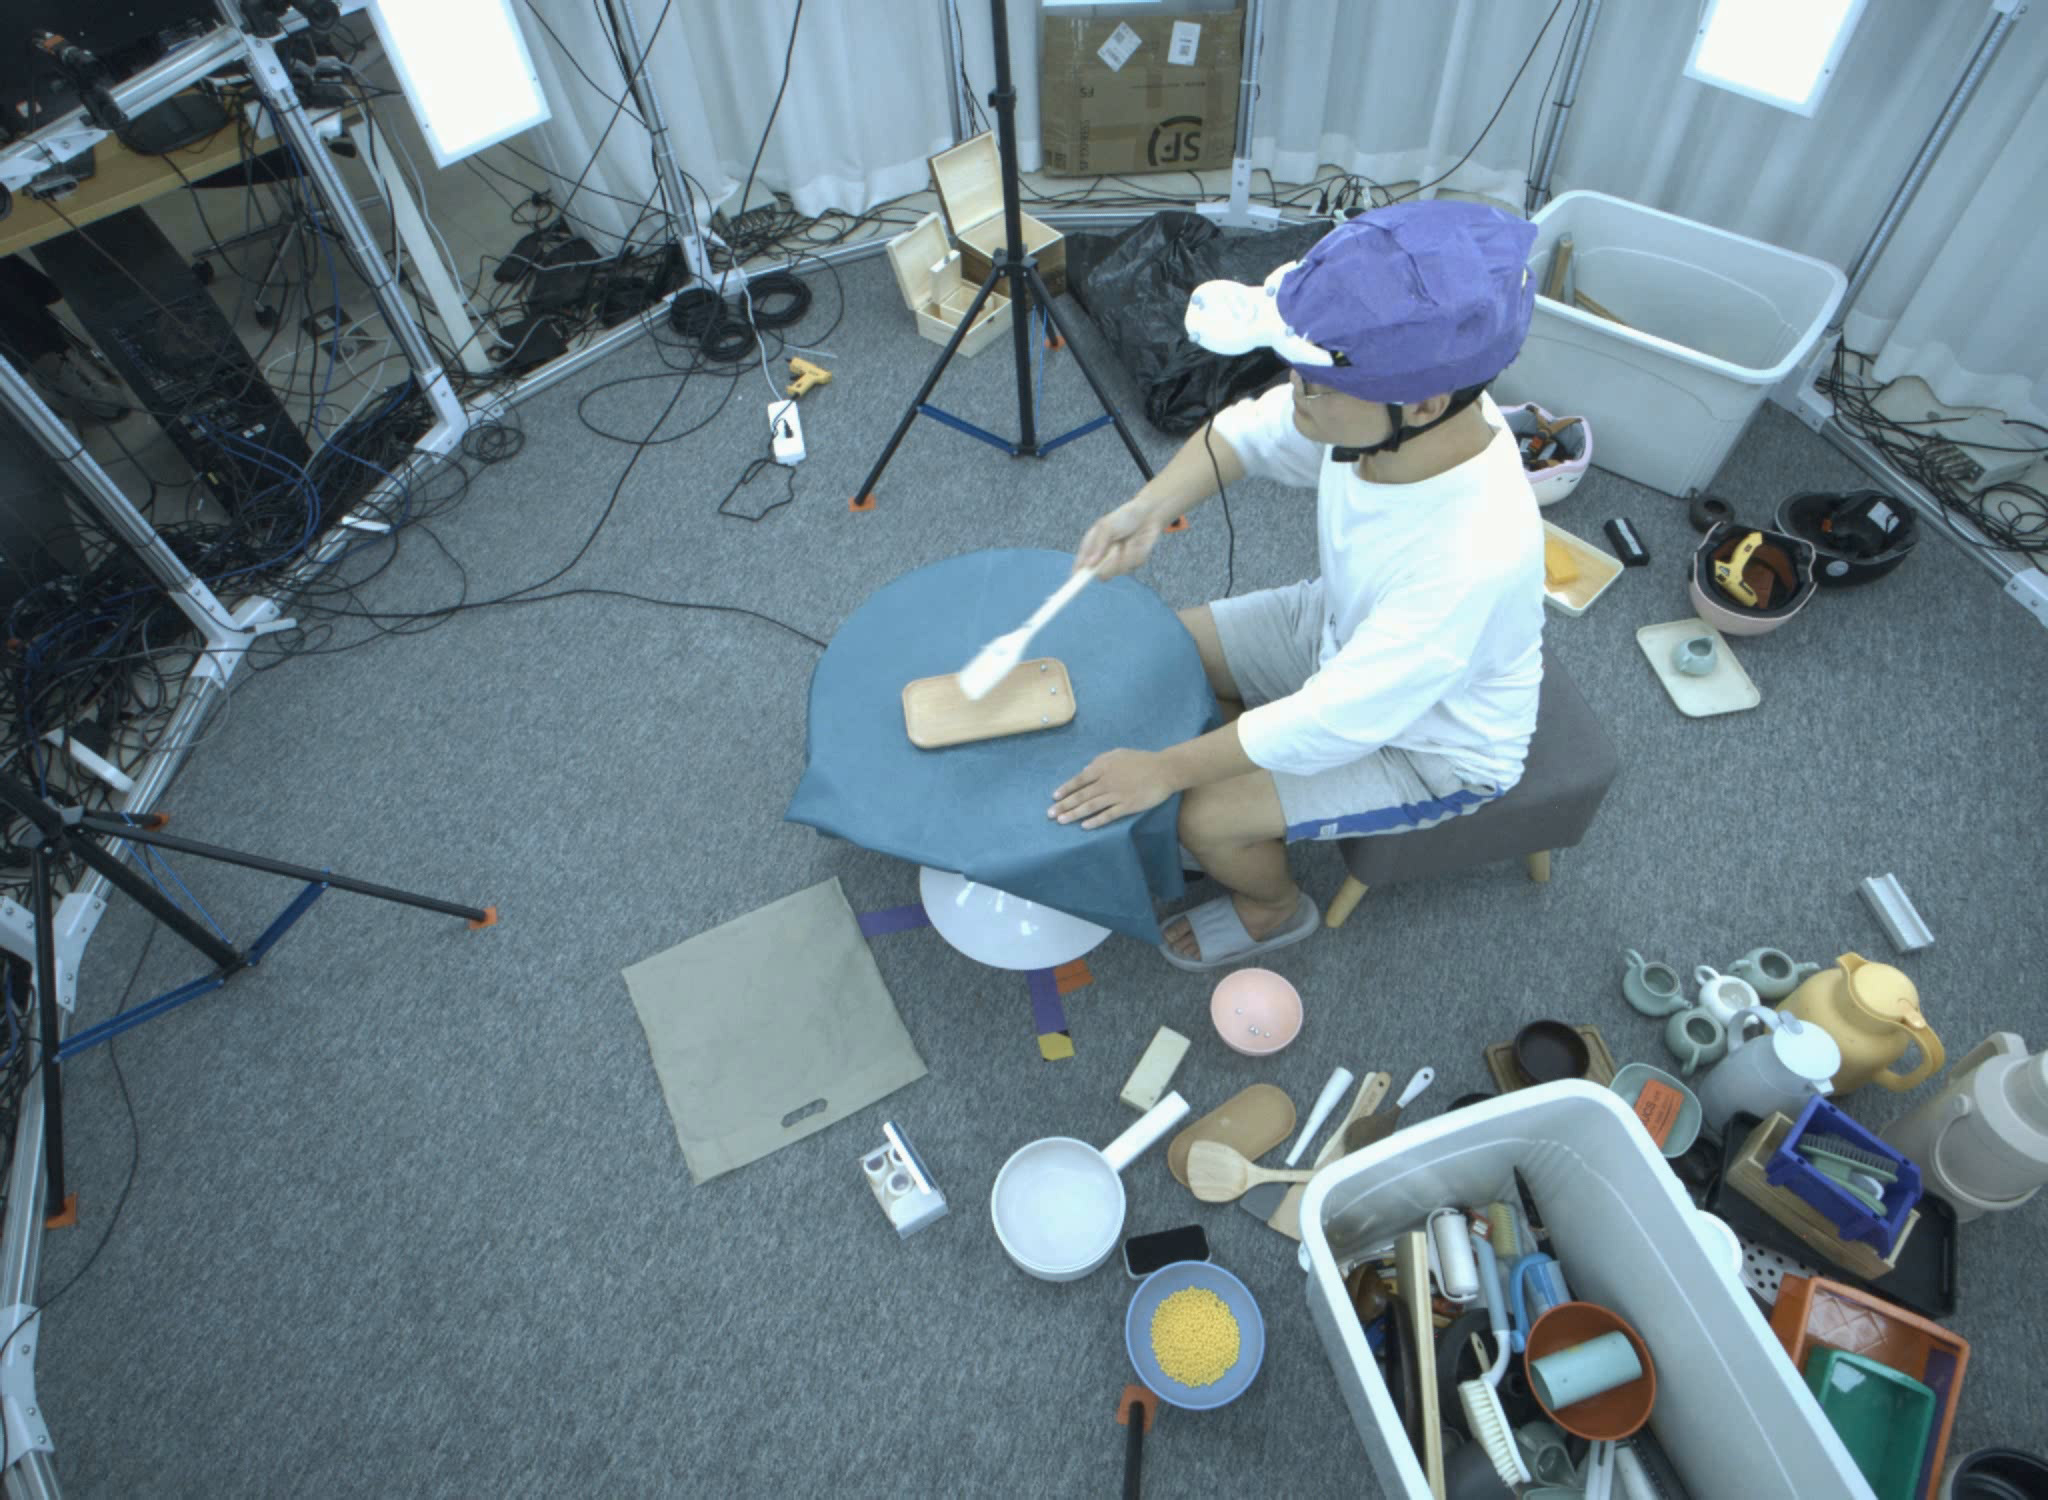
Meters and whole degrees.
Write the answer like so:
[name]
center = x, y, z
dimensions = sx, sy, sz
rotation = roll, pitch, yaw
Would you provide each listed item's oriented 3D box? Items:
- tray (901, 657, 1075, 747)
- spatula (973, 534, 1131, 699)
[tray]
center = -0.054, -0.071, 1.827
dimensions = 0.251, 0.023, 0.128
rotation = -9, 52, -4
[spatula]
center = 0.041, -0.189, 1.697
dimensions = 0.292, 0.011, 0.071
rotation = -46, 43, 8
